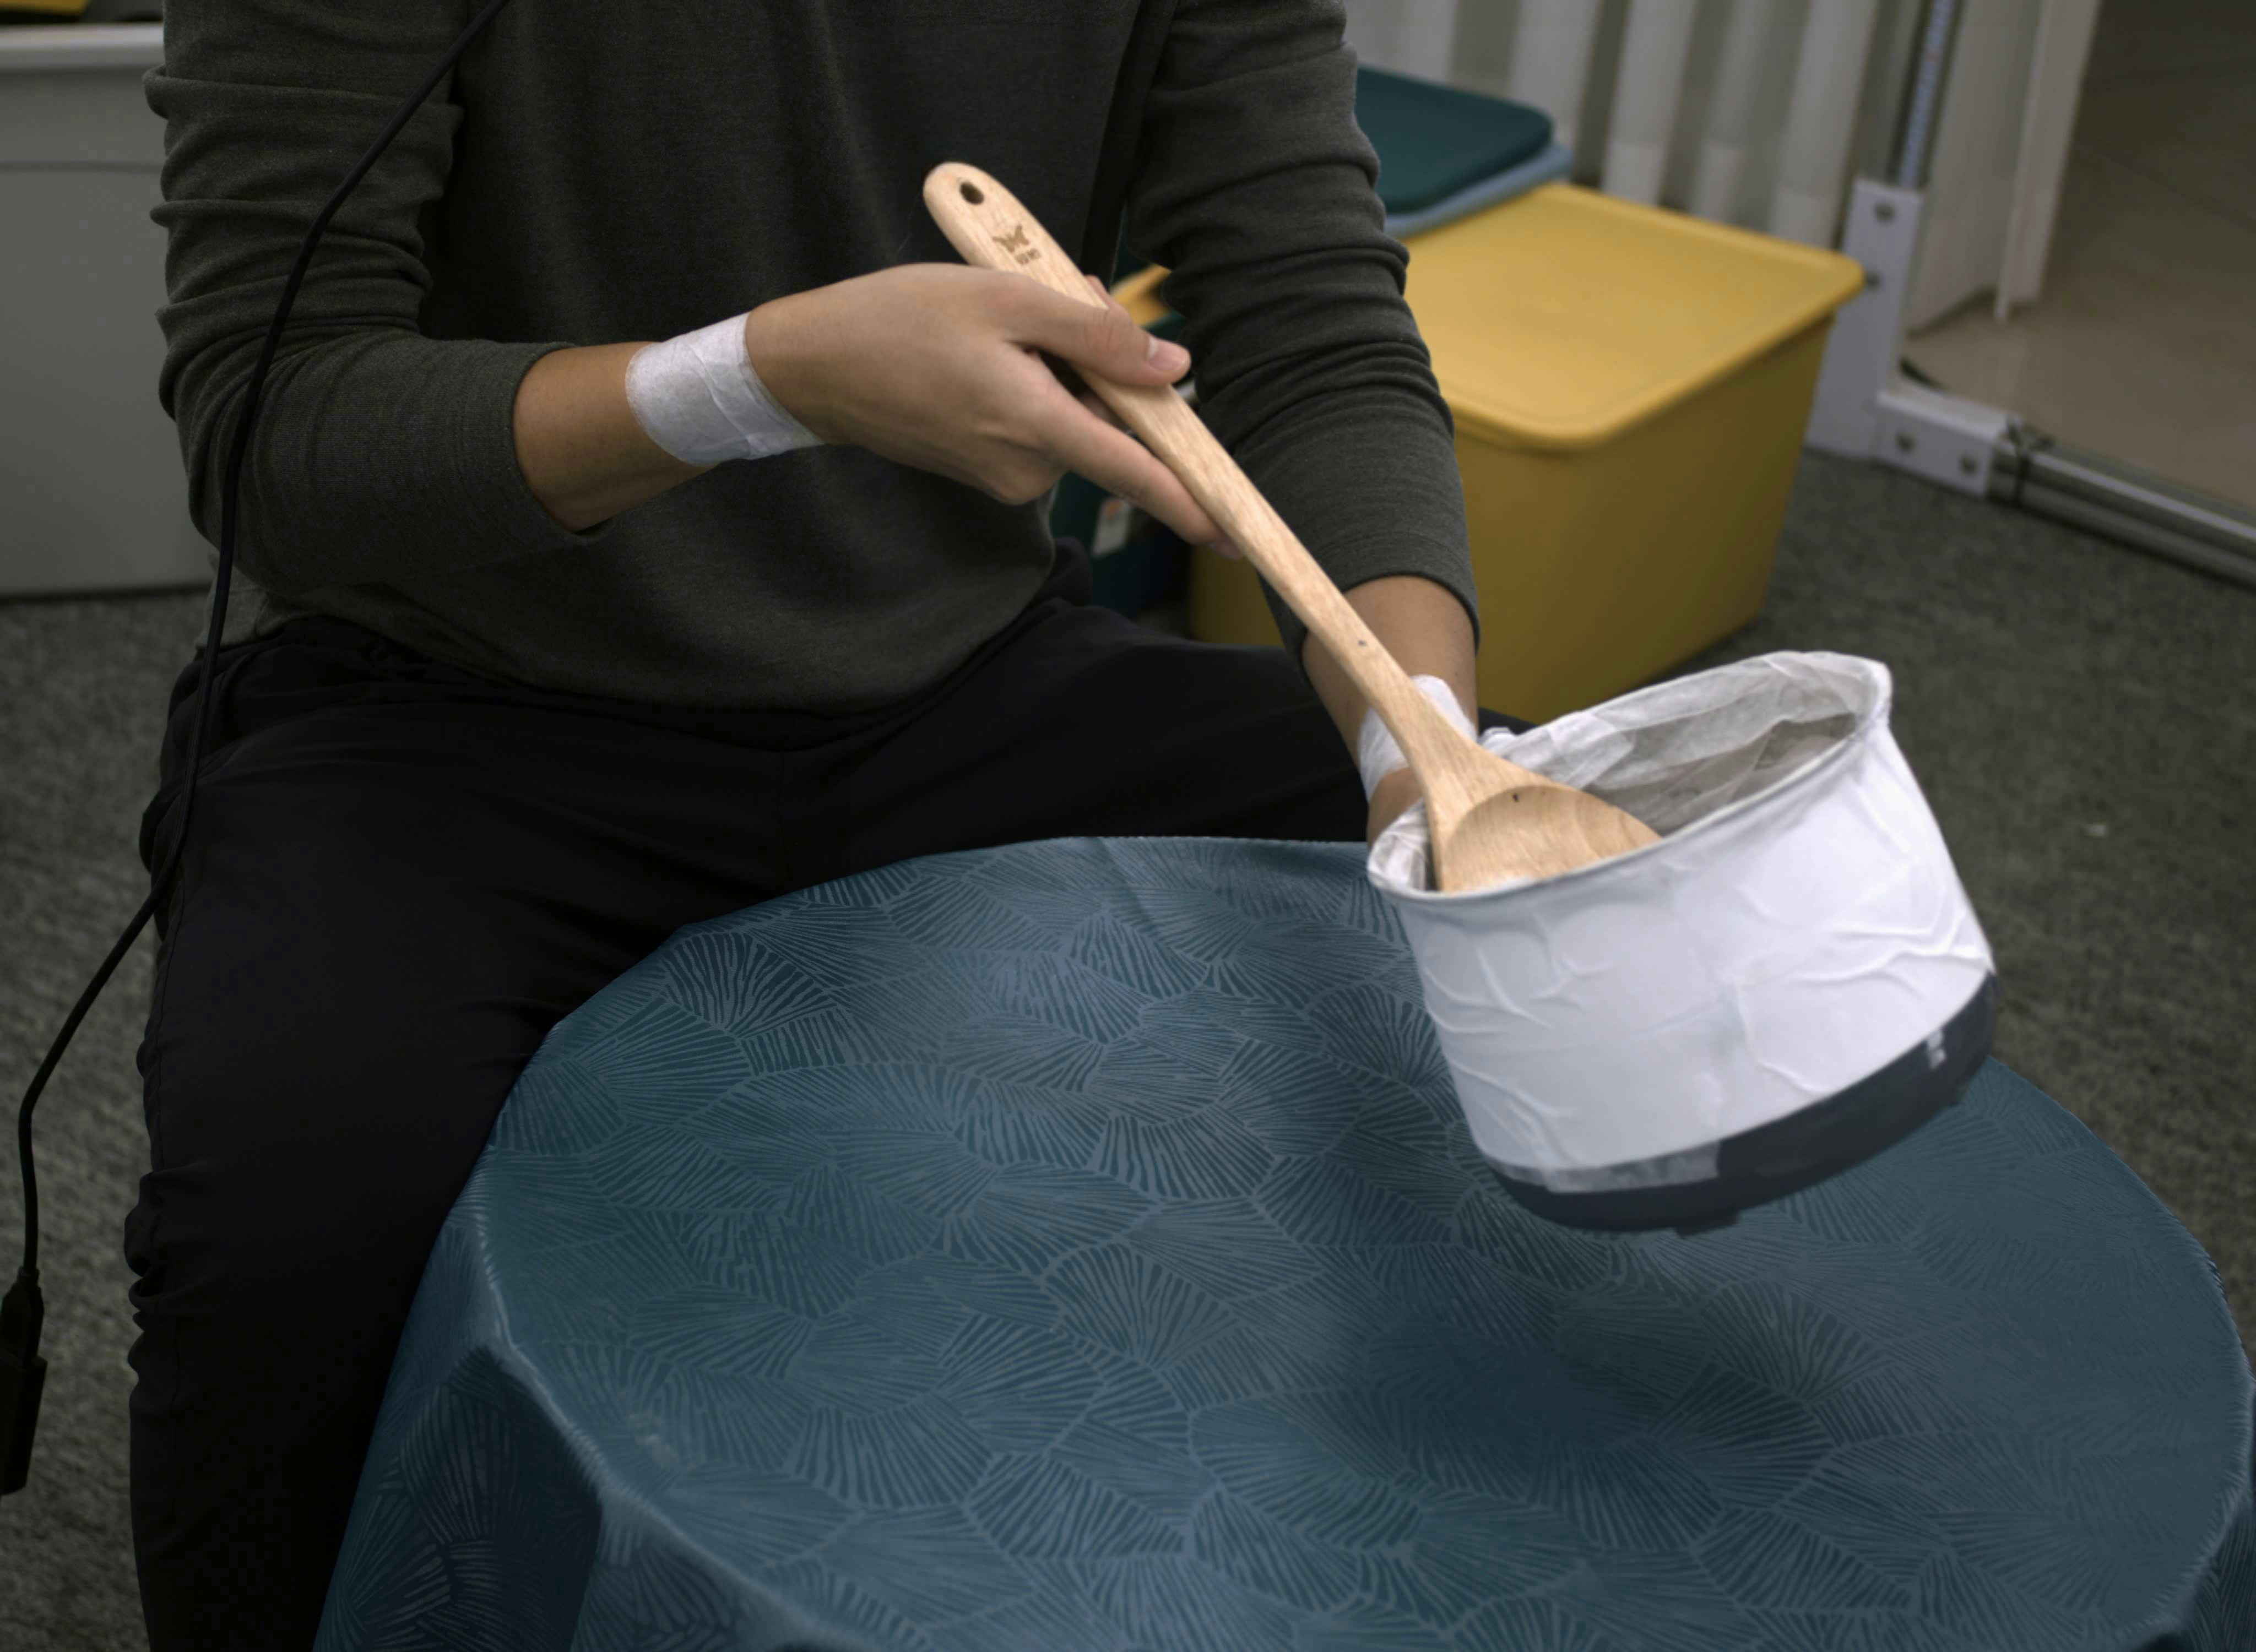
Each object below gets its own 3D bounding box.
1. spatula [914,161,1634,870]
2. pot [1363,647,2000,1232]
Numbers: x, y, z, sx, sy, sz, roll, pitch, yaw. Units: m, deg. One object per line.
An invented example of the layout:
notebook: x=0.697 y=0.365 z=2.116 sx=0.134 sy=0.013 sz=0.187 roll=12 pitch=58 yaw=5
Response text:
spatula: x=0.050 y=-0.082 z=1.764 sx=0.095 sy=0.018 sz=0.393 roll=-27 pitch=69 yaw=-38
pot: x=0.169 y=0.036 z=1.723 sx=0.178 sy=0.136 sz=0.235 roll=-26 pitch=14 yaw=-18
